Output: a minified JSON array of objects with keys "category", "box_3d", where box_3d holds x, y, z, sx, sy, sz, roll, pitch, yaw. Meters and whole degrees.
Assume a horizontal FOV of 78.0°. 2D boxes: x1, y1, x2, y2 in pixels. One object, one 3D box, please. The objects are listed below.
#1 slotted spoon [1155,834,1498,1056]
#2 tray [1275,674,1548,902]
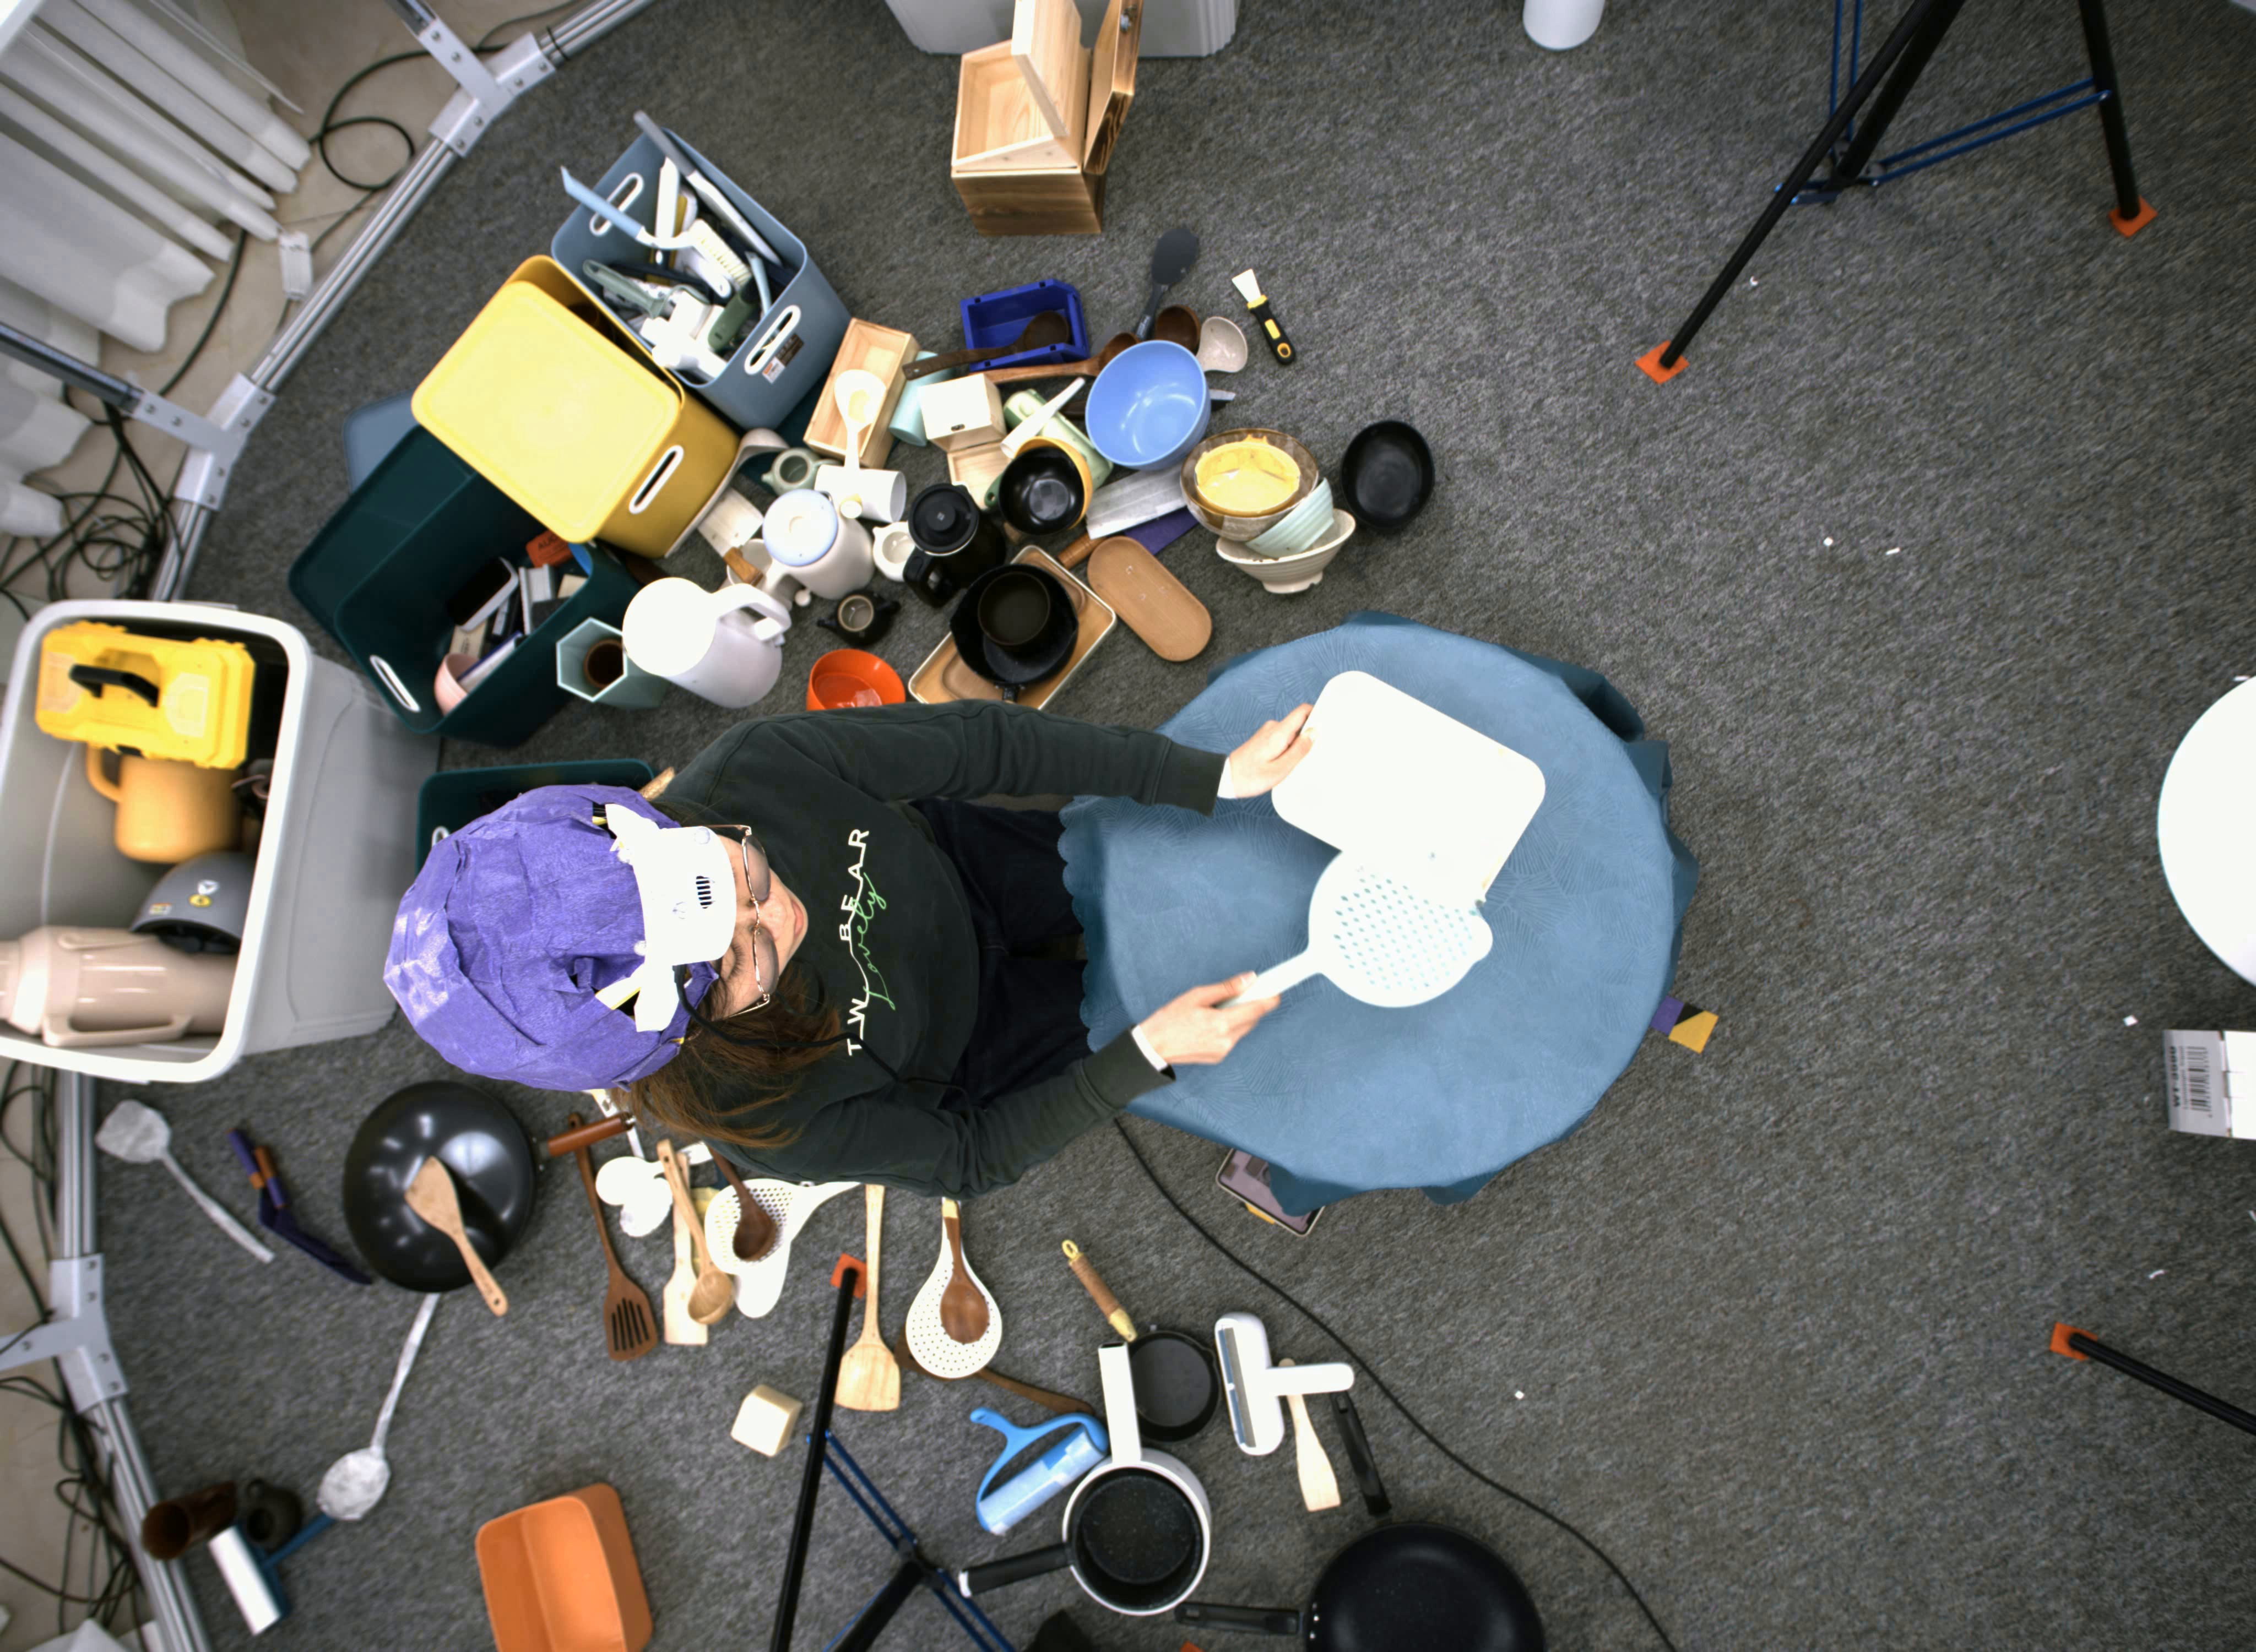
[{"category":"slotted spoon","box_3d":[0.183,0.141,1.353,0.361,0.076,0.166,-25,64,7]},{"category":"tray","box_3d":[0.281,-0.035,1.374,0.239,0.017,0.174,29,110,5]}]
